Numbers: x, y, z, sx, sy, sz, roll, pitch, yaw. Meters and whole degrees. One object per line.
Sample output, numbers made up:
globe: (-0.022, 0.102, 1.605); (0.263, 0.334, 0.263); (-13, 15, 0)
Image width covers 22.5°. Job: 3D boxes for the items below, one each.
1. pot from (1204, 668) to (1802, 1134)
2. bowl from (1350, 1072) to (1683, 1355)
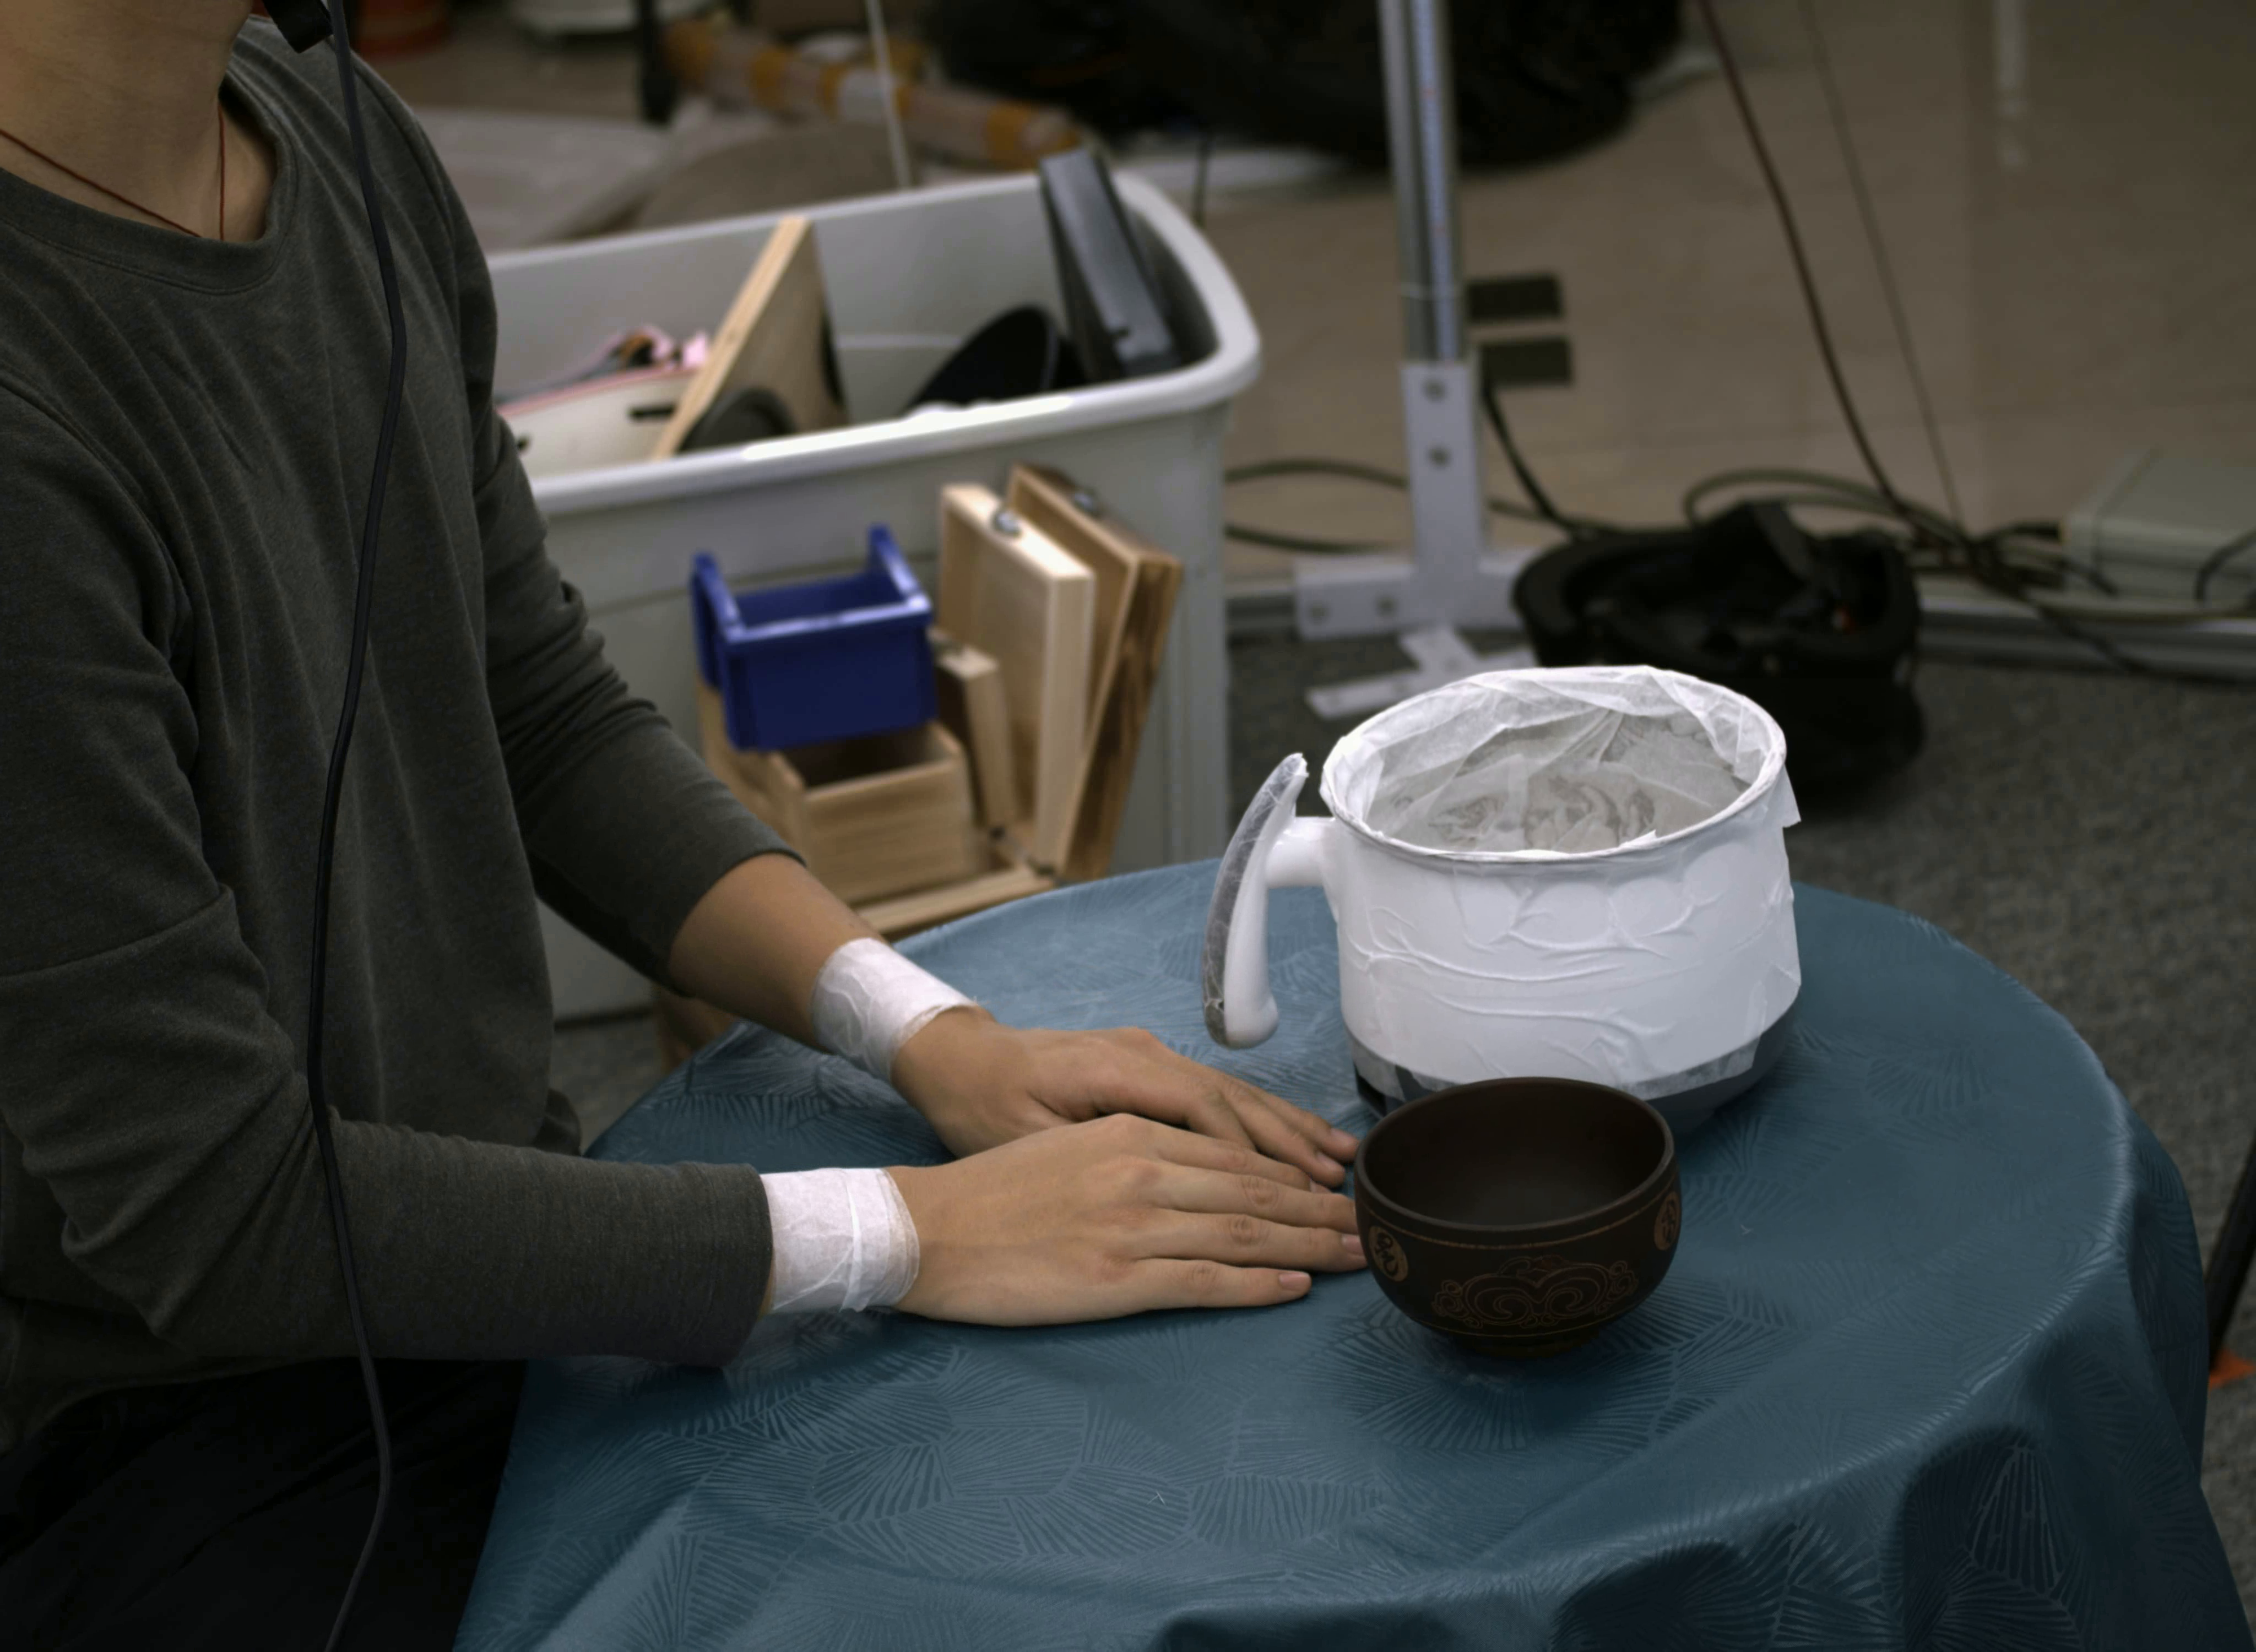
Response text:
pot: (0.141, 0.034, 2.181); (0.233, 0.139, 0.176); (-2, 26, 11)
bowl: (0.140, 0.144, 2.019); (0.118, 0.071, 0.116); (-7, 25, 4)
